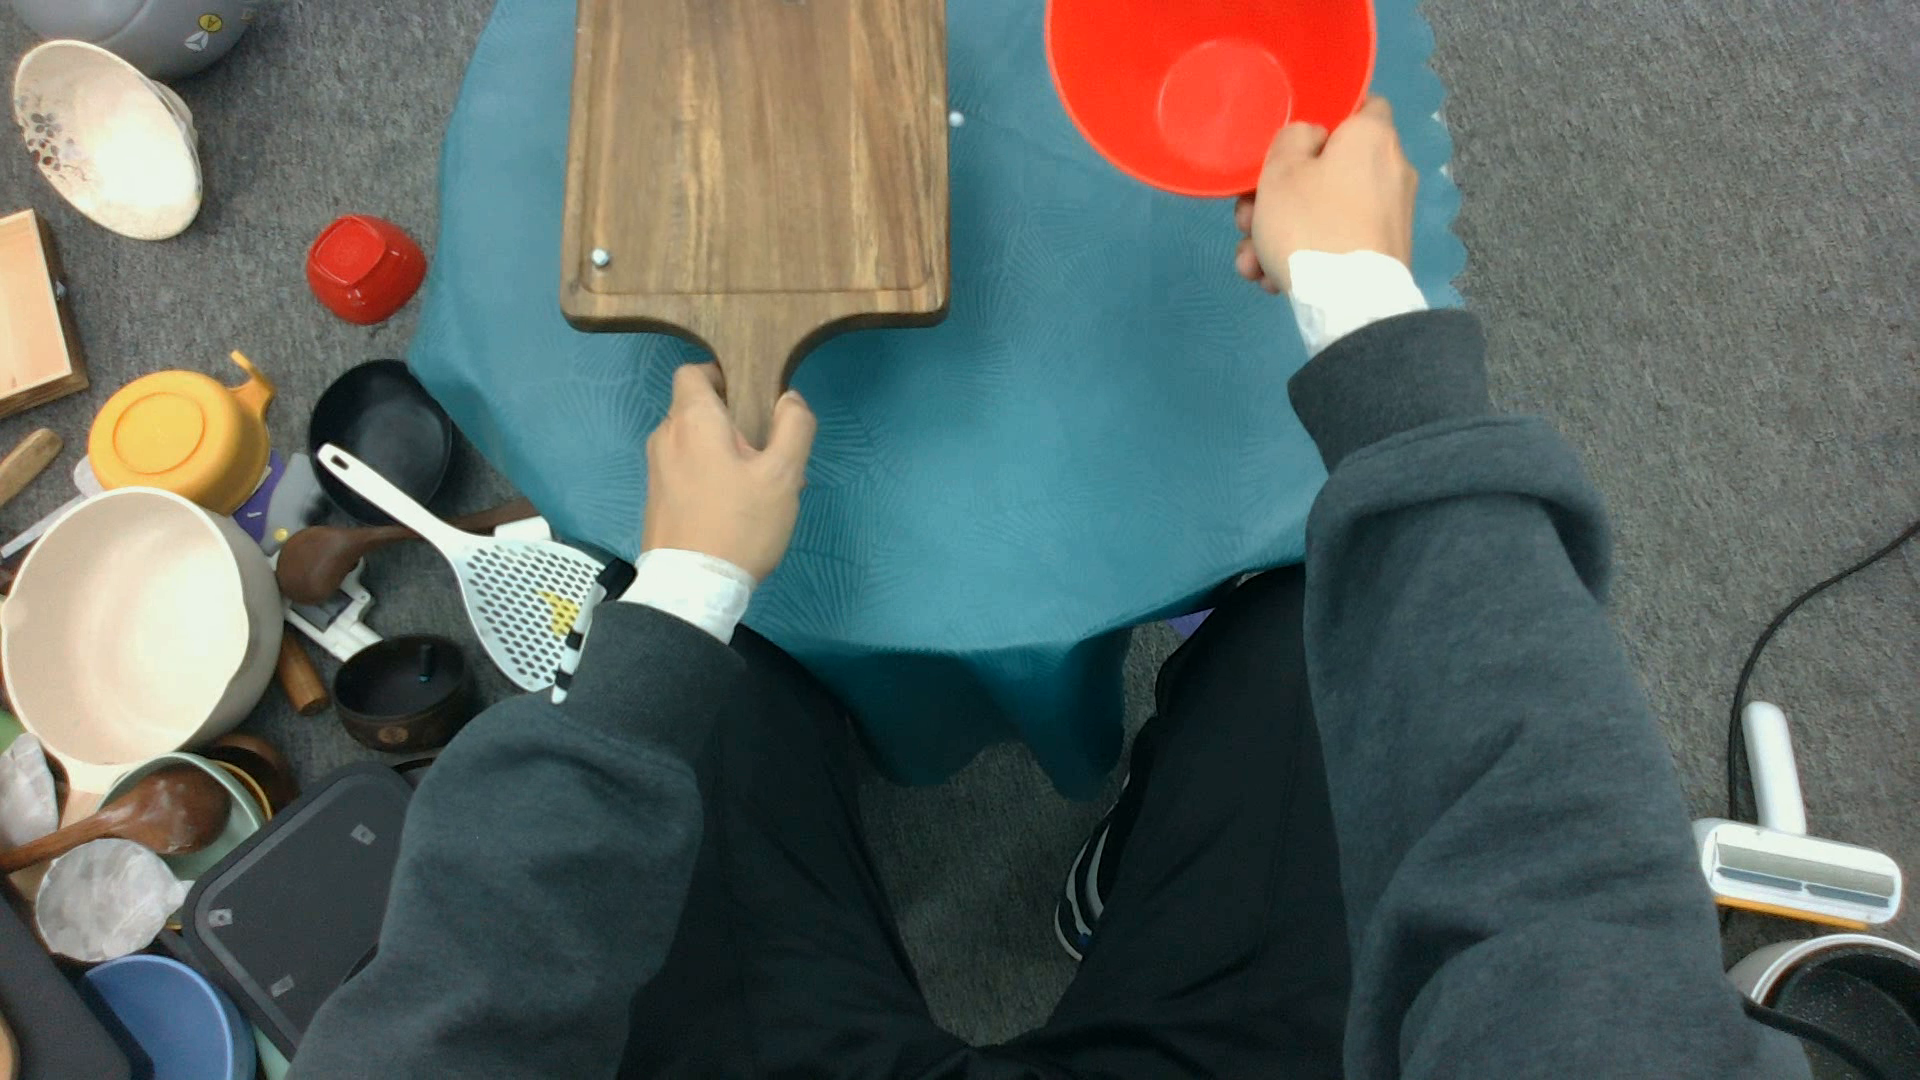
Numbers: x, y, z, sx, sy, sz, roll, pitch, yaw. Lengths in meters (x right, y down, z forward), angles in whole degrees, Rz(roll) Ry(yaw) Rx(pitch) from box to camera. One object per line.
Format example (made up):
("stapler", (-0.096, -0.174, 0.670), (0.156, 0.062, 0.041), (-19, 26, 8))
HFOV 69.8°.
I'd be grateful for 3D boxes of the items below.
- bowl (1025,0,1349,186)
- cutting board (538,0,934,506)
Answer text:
("bowl", (0.109, -0.234, 0.668), (0.148, 0.104, 0.148), (0, 86, 7))
("cutting board", (-0.116, -0.188, 0.714), (0.201, 0.023, 0.353), (-2, 74, -2))
